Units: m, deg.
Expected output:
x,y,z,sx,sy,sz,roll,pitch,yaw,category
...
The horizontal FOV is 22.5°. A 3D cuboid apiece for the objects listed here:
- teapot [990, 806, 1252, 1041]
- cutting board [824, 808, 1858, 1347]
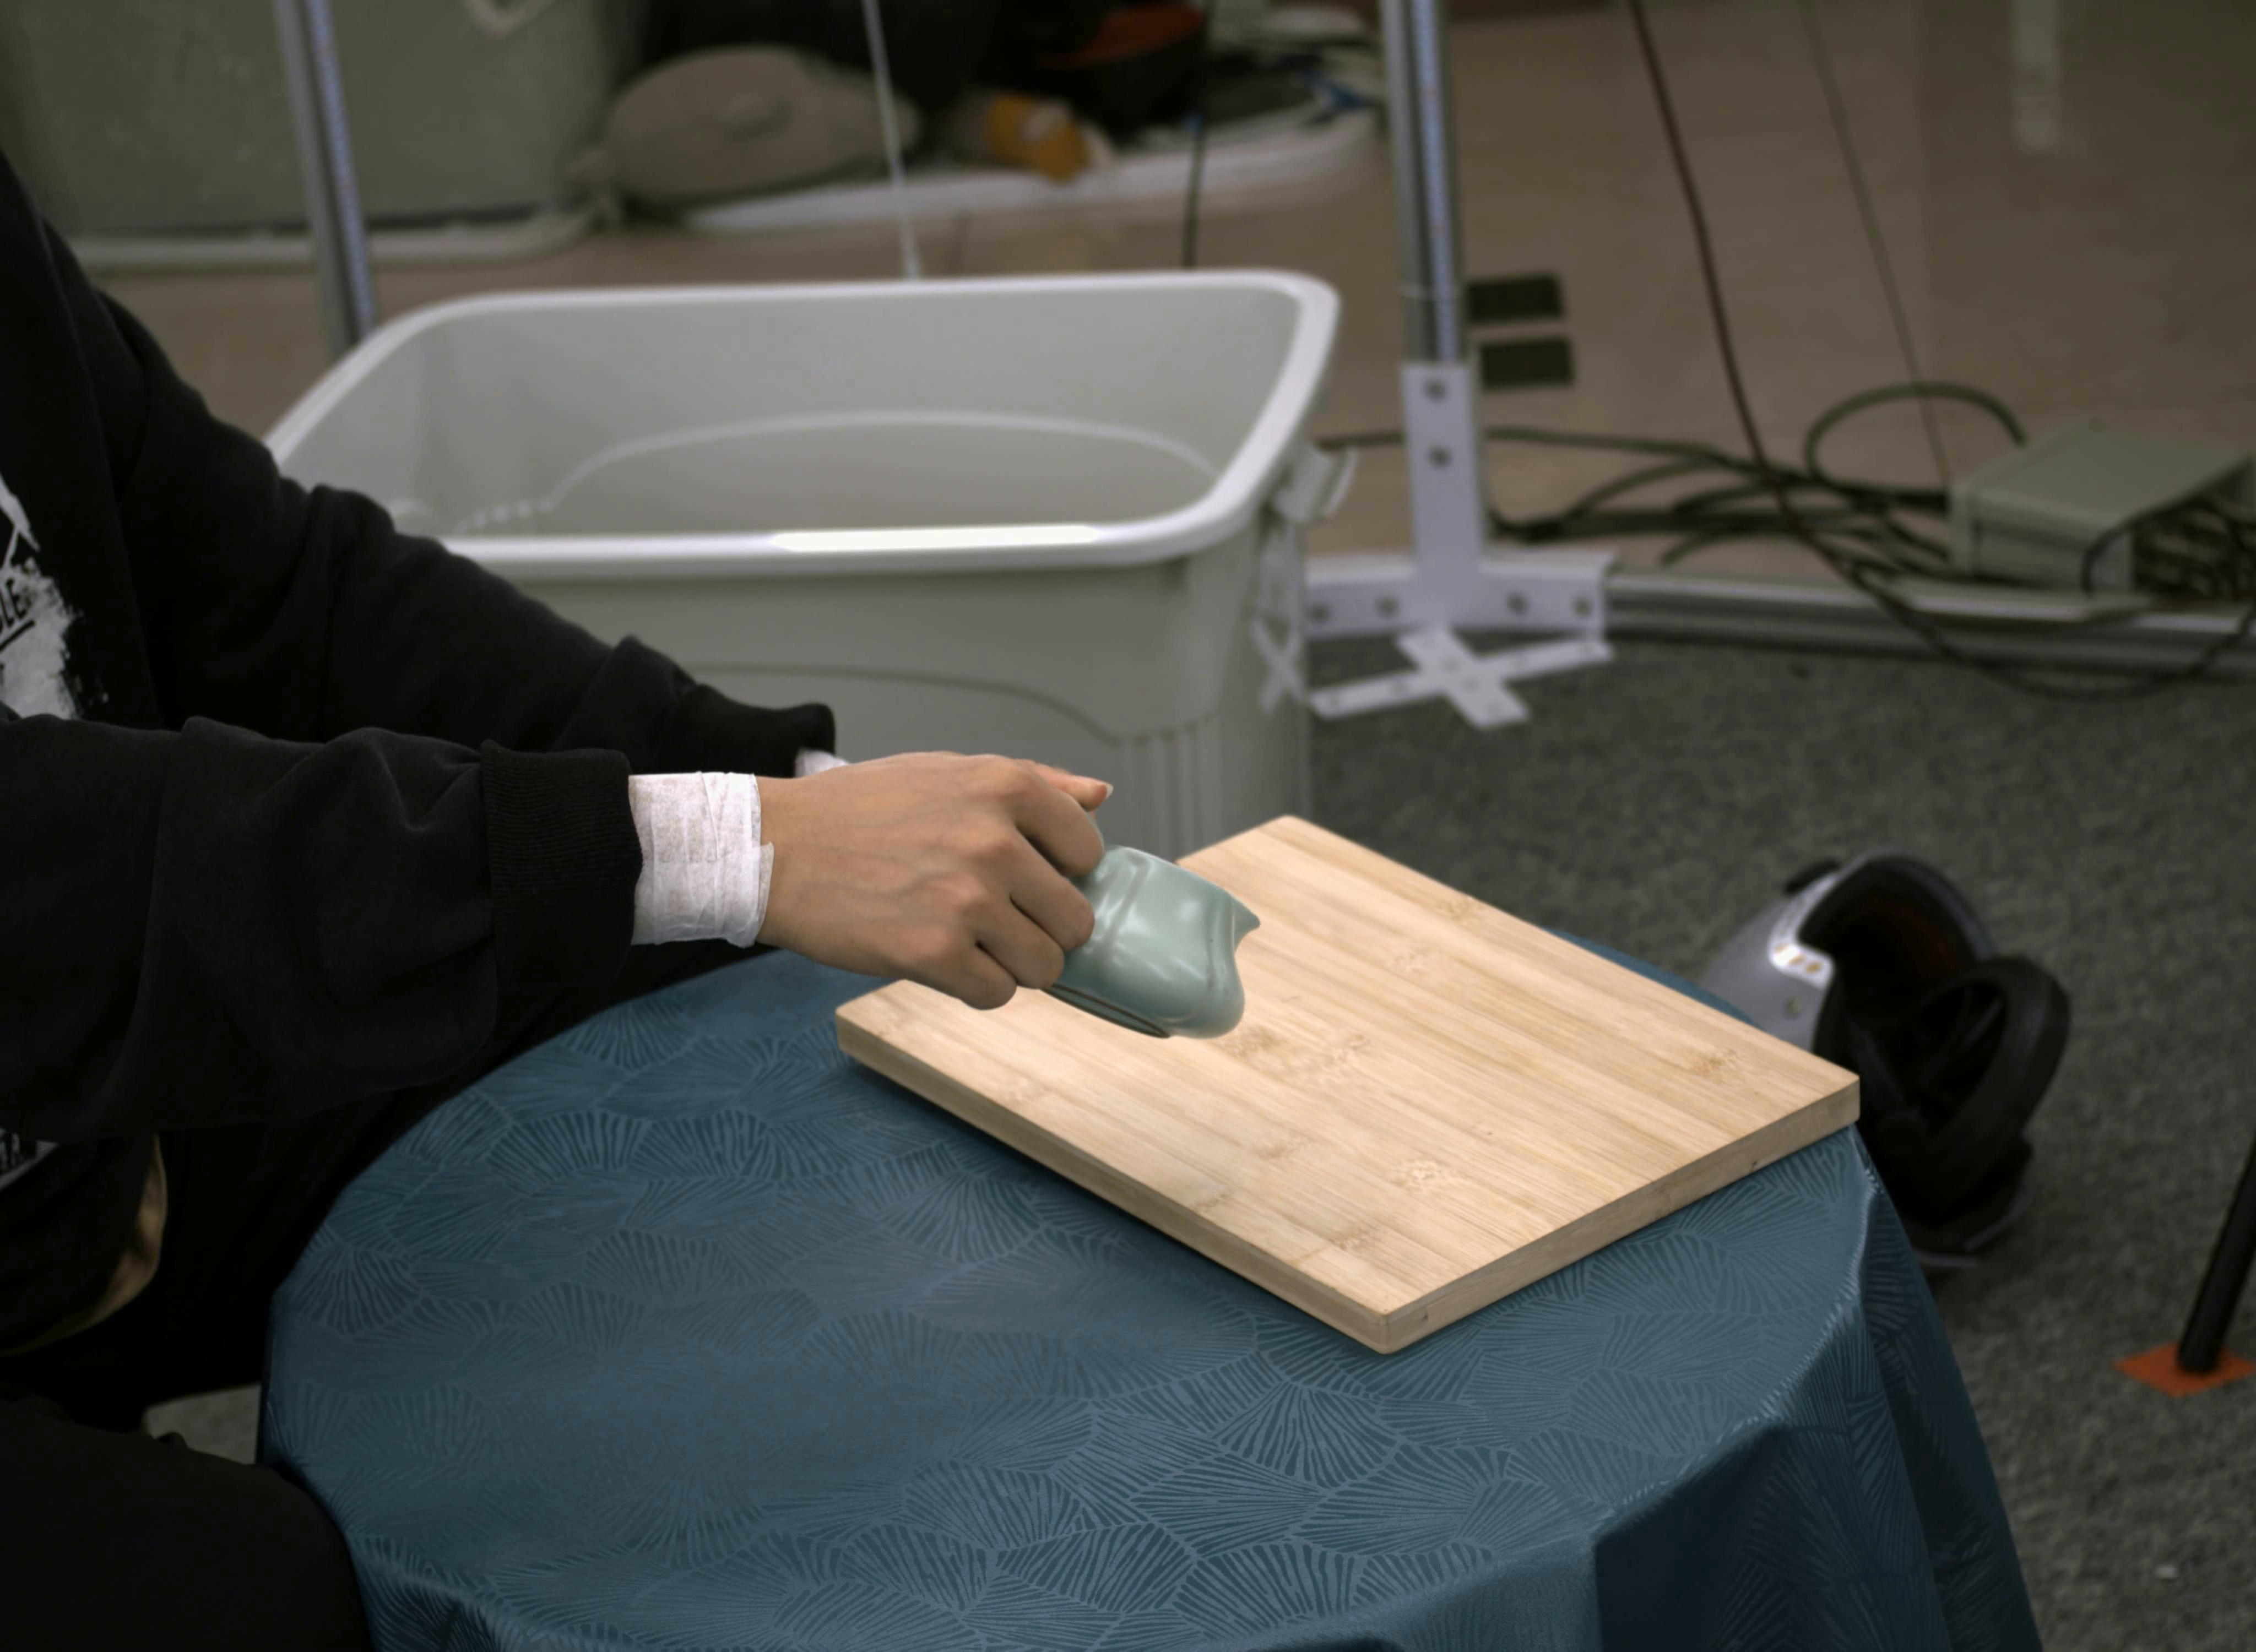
x,y,z,sx,sy,sz,roll,pitch,yaw,category
-0.002,0.038,2.041,0.095,0.061,0.138,18,-8,38,teapot
0.077,0.091,2.204,0.249,0.024,0.345,-23,31,-33,cutting board
